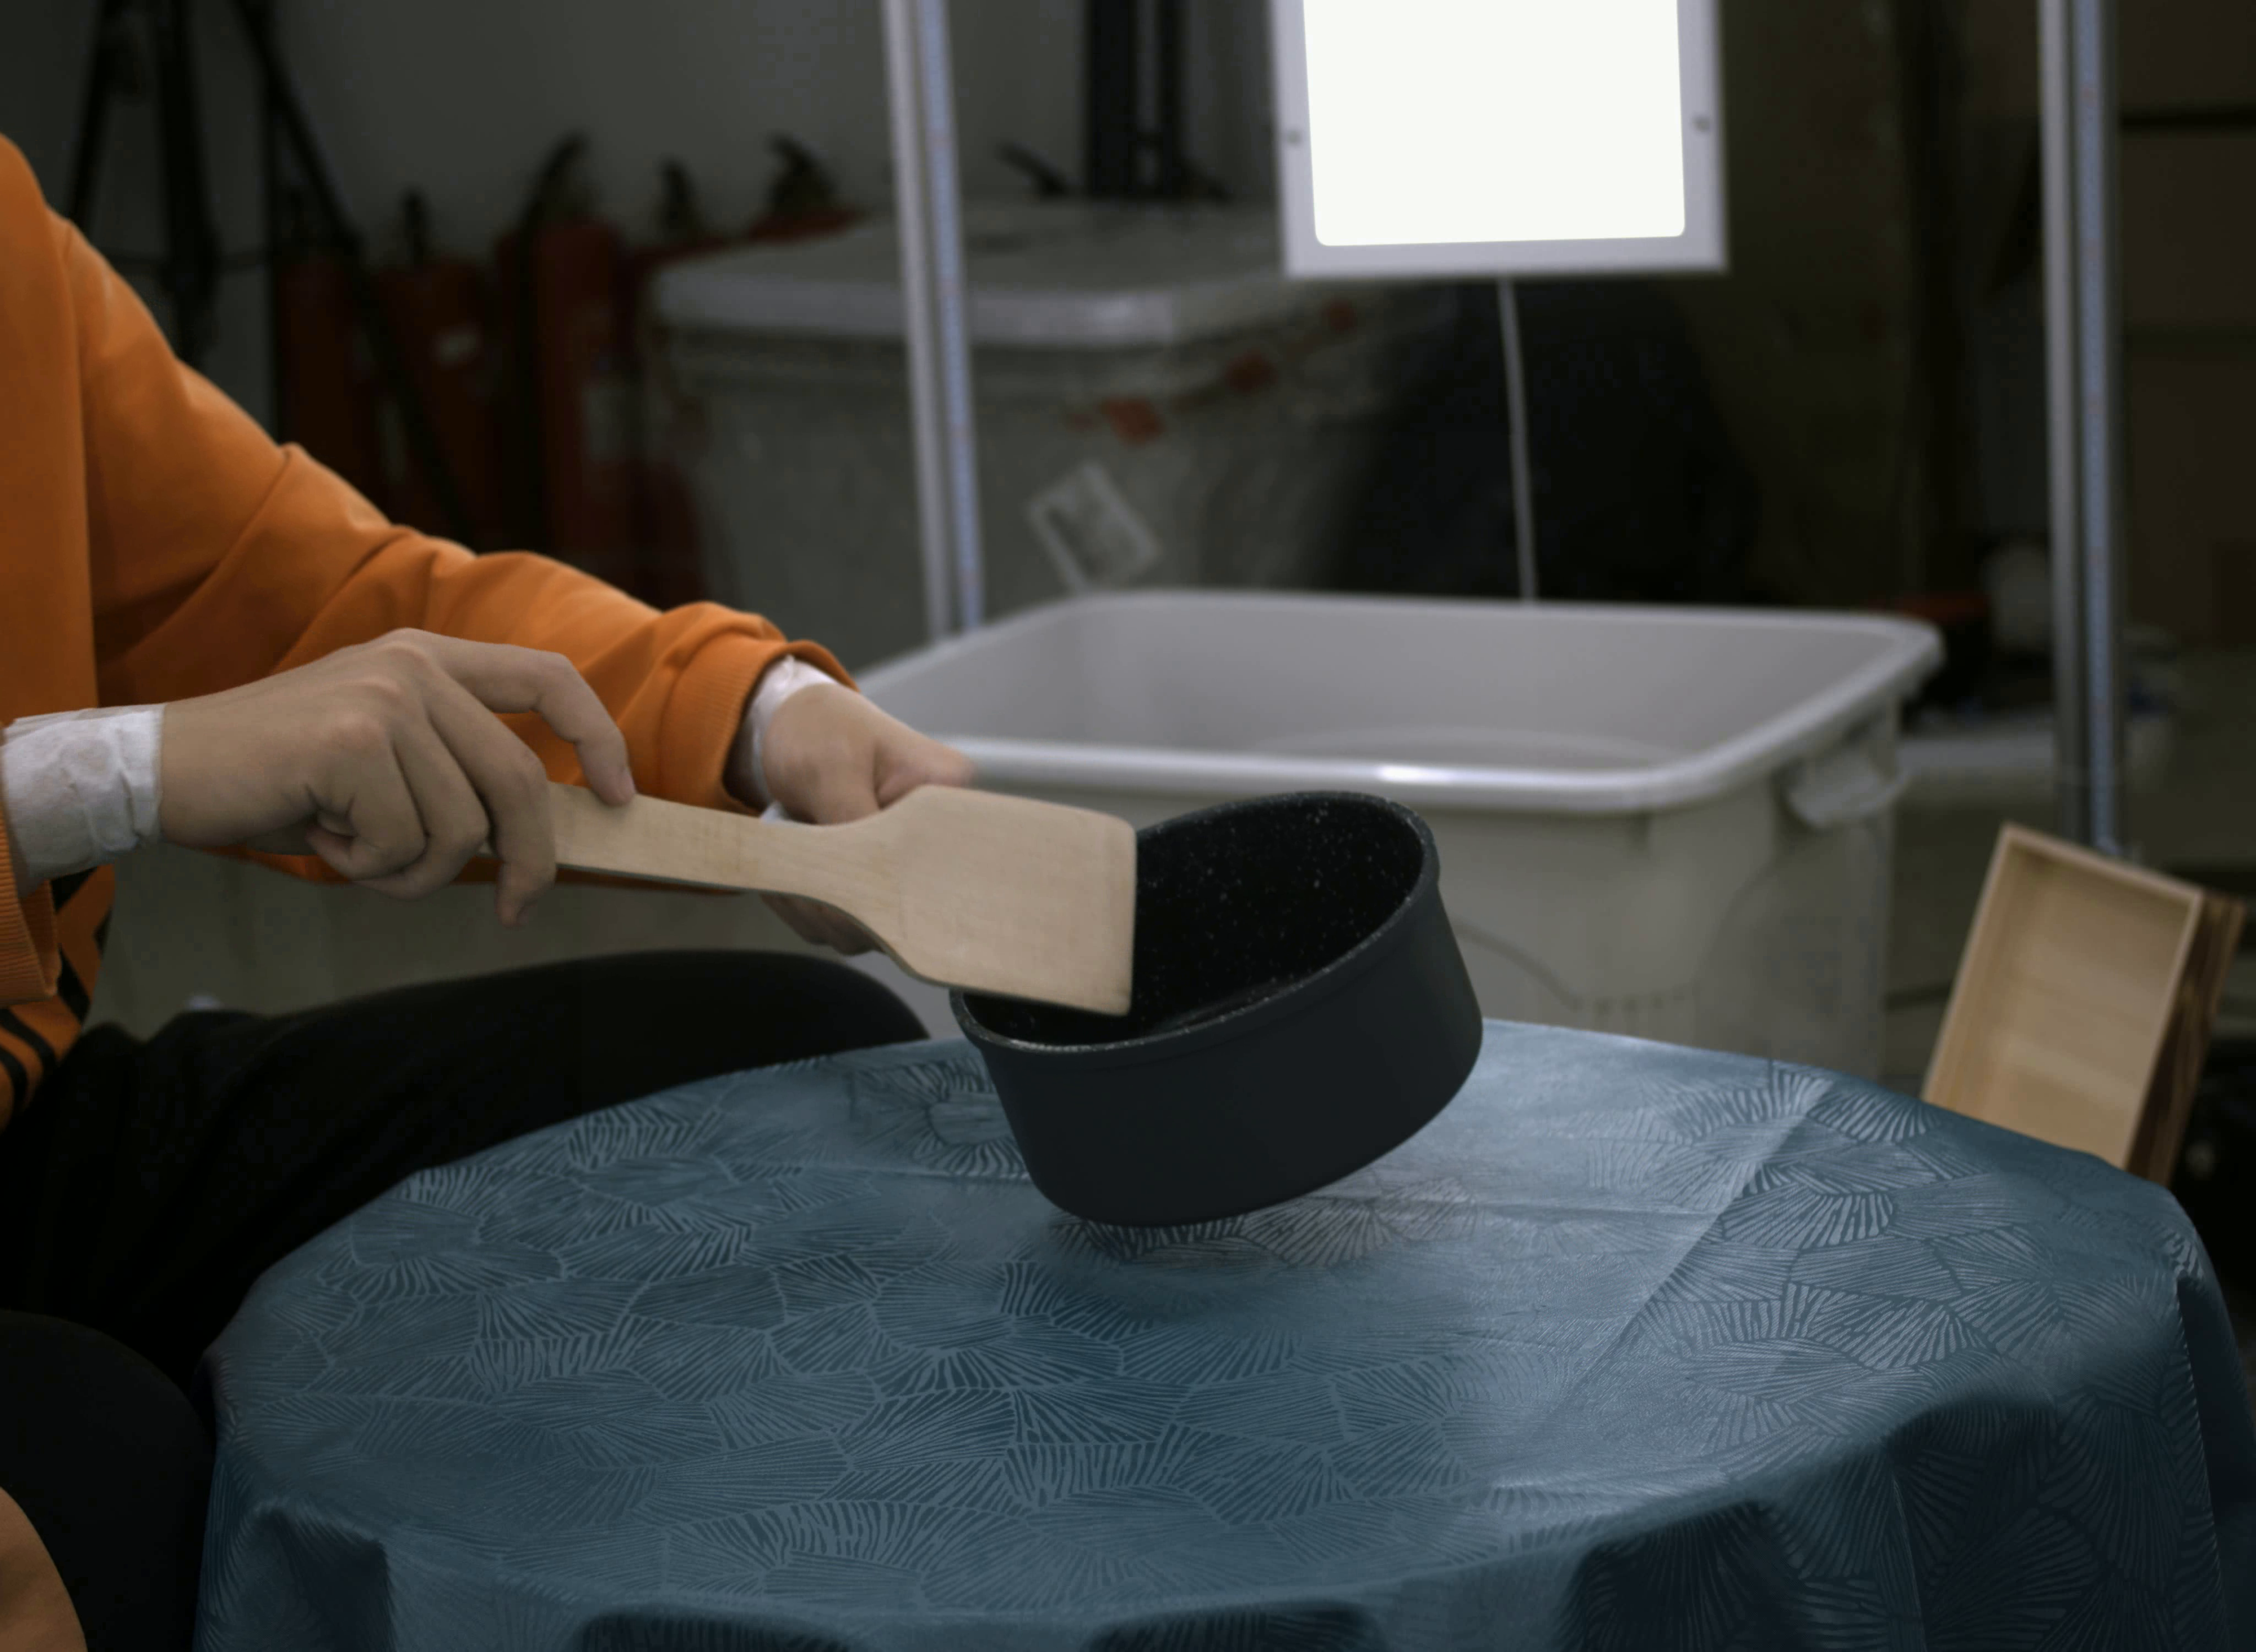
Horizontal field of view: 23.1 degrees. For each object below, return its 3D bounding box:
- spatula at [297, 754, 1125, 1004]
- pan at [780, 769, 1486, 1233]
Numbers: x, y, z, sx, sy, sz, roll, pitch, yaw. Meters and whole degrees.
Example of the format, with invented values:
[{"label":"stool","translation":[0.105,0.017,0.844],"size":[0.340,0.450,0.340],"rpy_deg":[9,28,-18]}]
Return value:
[{"label":"spatula","translation":[-0.132,0.007,1.808],"size":[0.287,0.072,0.011],"rpy_deg":[8,-13,-22]},{"label":"pan","translation":[-0.014,0.048,1.913],"size":[0.169,0.086,0.335],"rpy_deg":[-32,26,-26]}]
